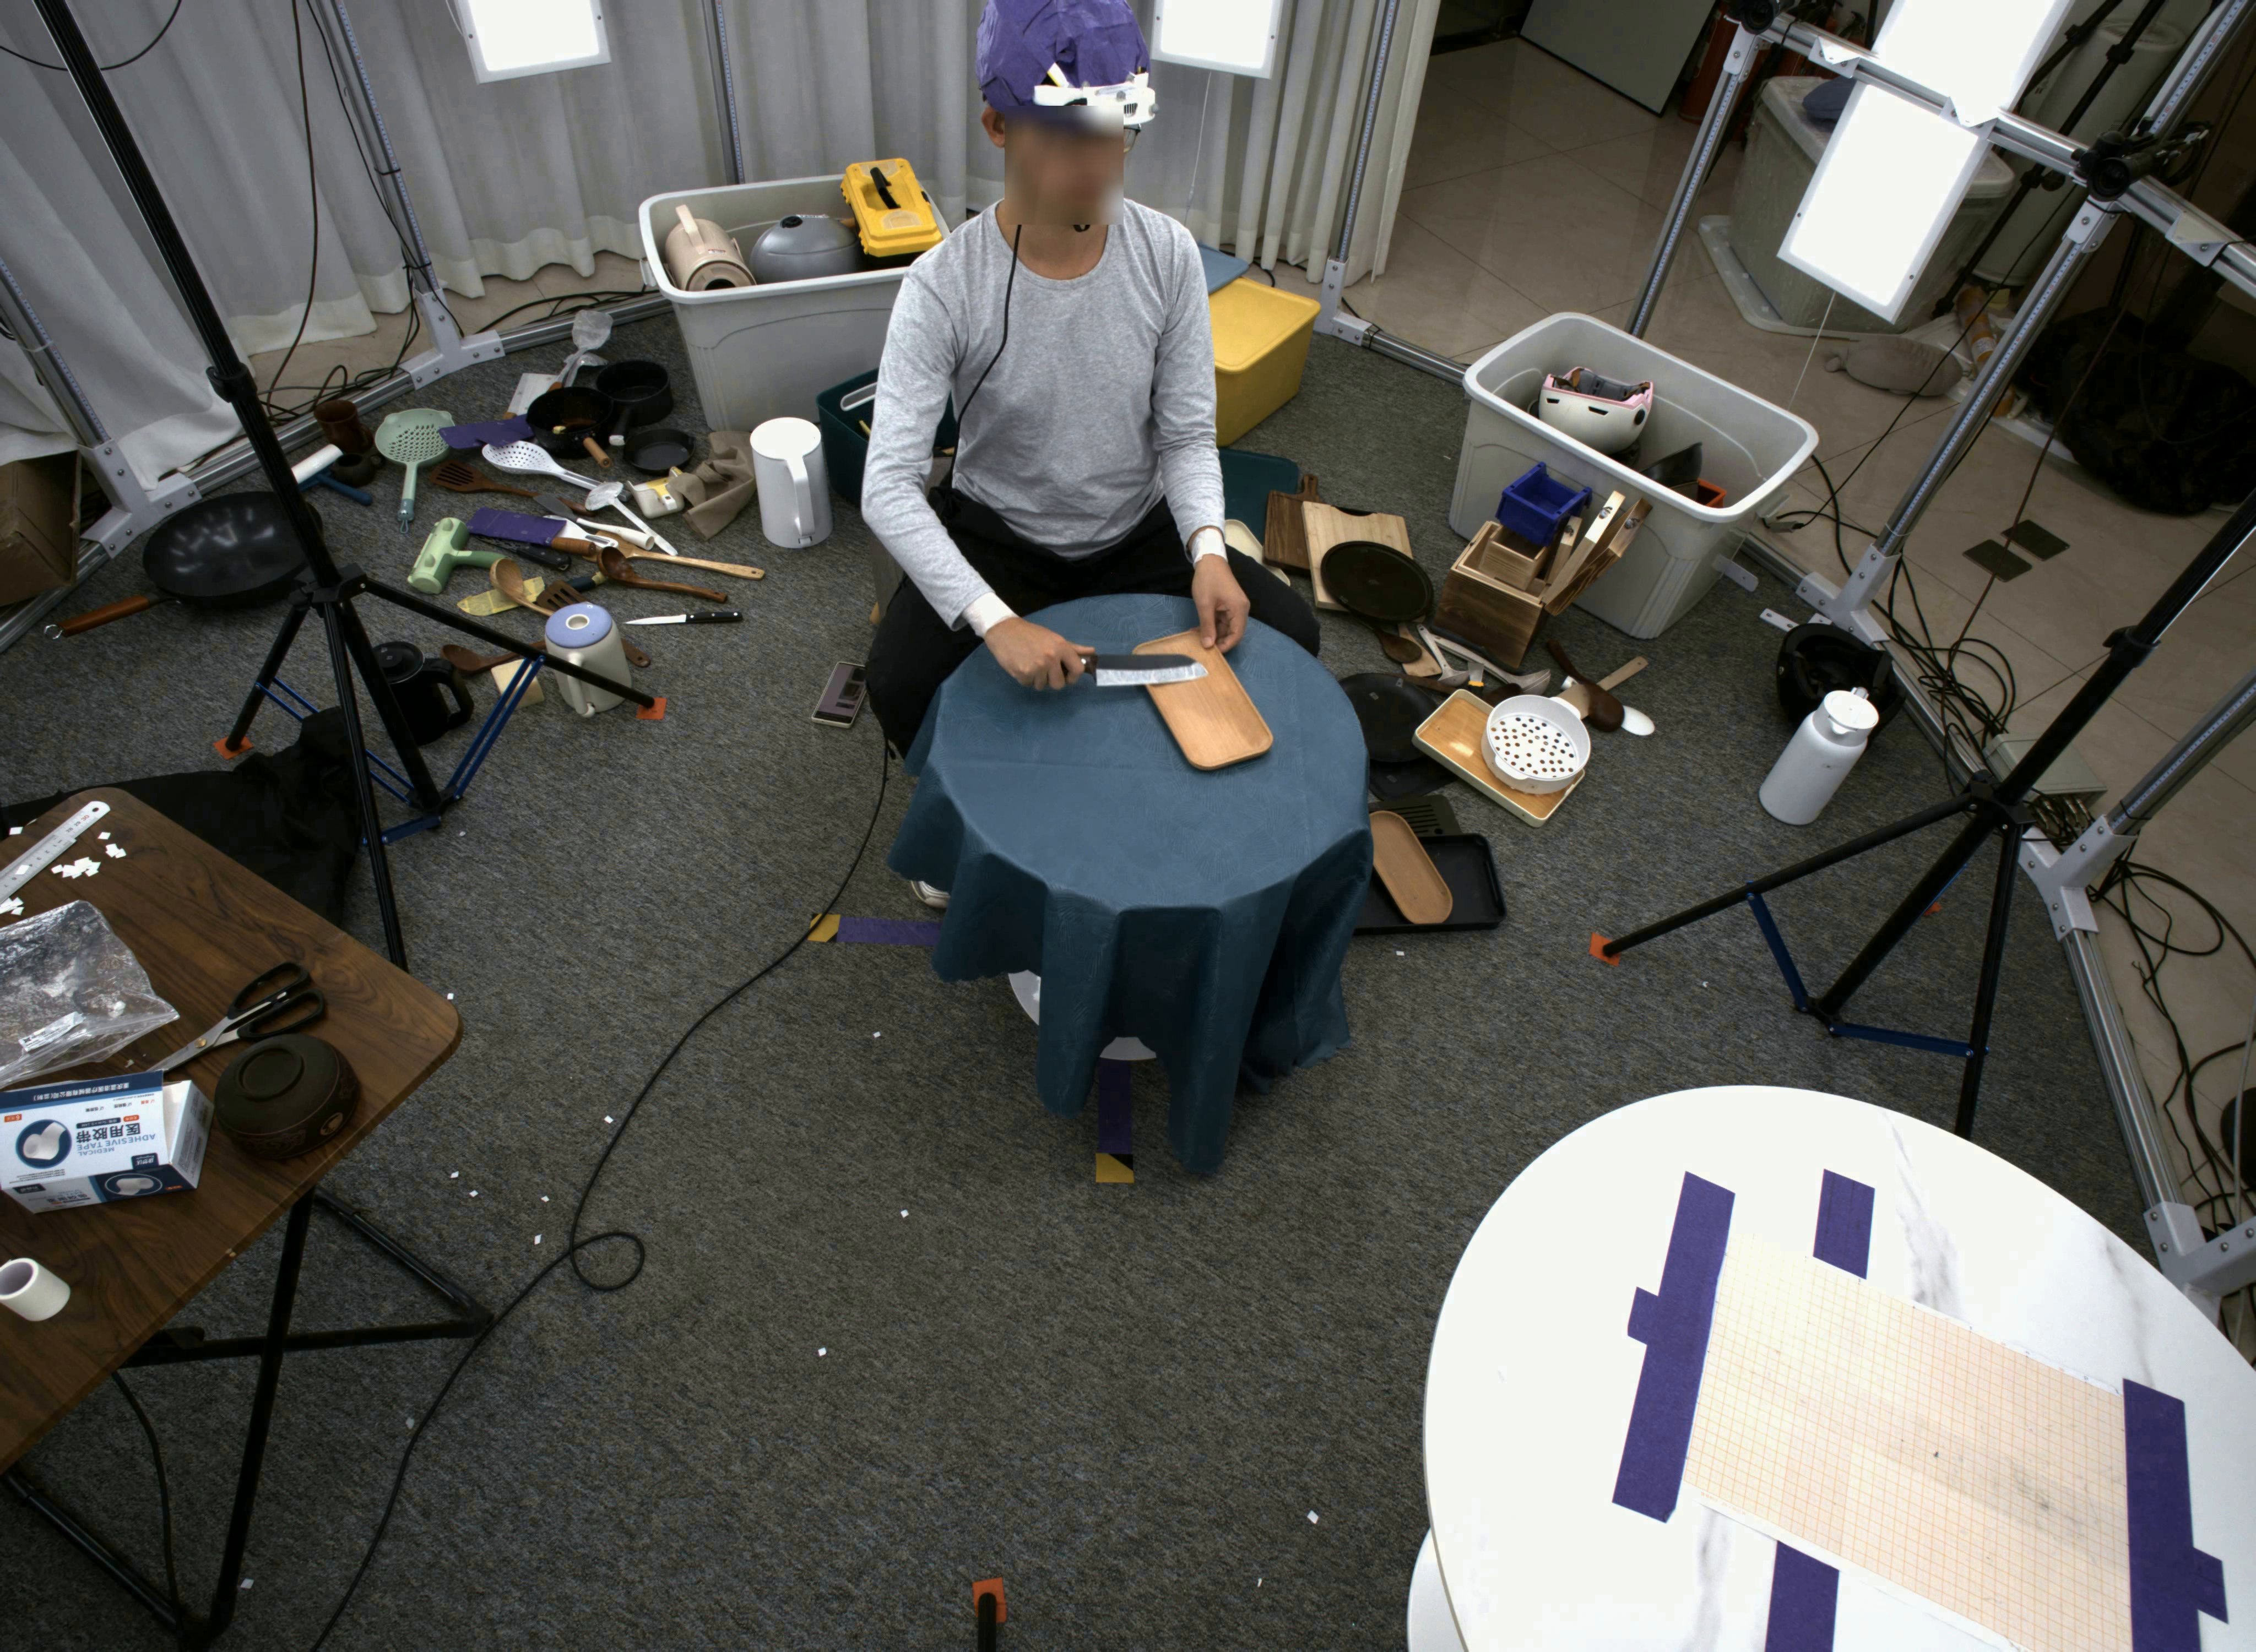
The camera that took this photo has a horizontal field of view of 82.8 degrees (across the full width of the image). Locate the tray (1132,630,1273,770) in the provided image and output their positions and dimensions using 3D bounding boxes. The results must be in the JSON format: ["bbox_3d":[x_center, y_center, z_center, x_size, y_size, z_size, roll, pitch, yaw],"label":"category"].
[{"bbox_3d":[0.102,-0.181,1.815,0.130,0.022,0.256,-14,52,-15],"label":"tray"}]

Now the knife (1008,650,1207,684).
[{"bbox_3d":[-0.025,-0.226,1.816,0.288,0.020,0.050,-1,83,-13],"label":"knife"}]
